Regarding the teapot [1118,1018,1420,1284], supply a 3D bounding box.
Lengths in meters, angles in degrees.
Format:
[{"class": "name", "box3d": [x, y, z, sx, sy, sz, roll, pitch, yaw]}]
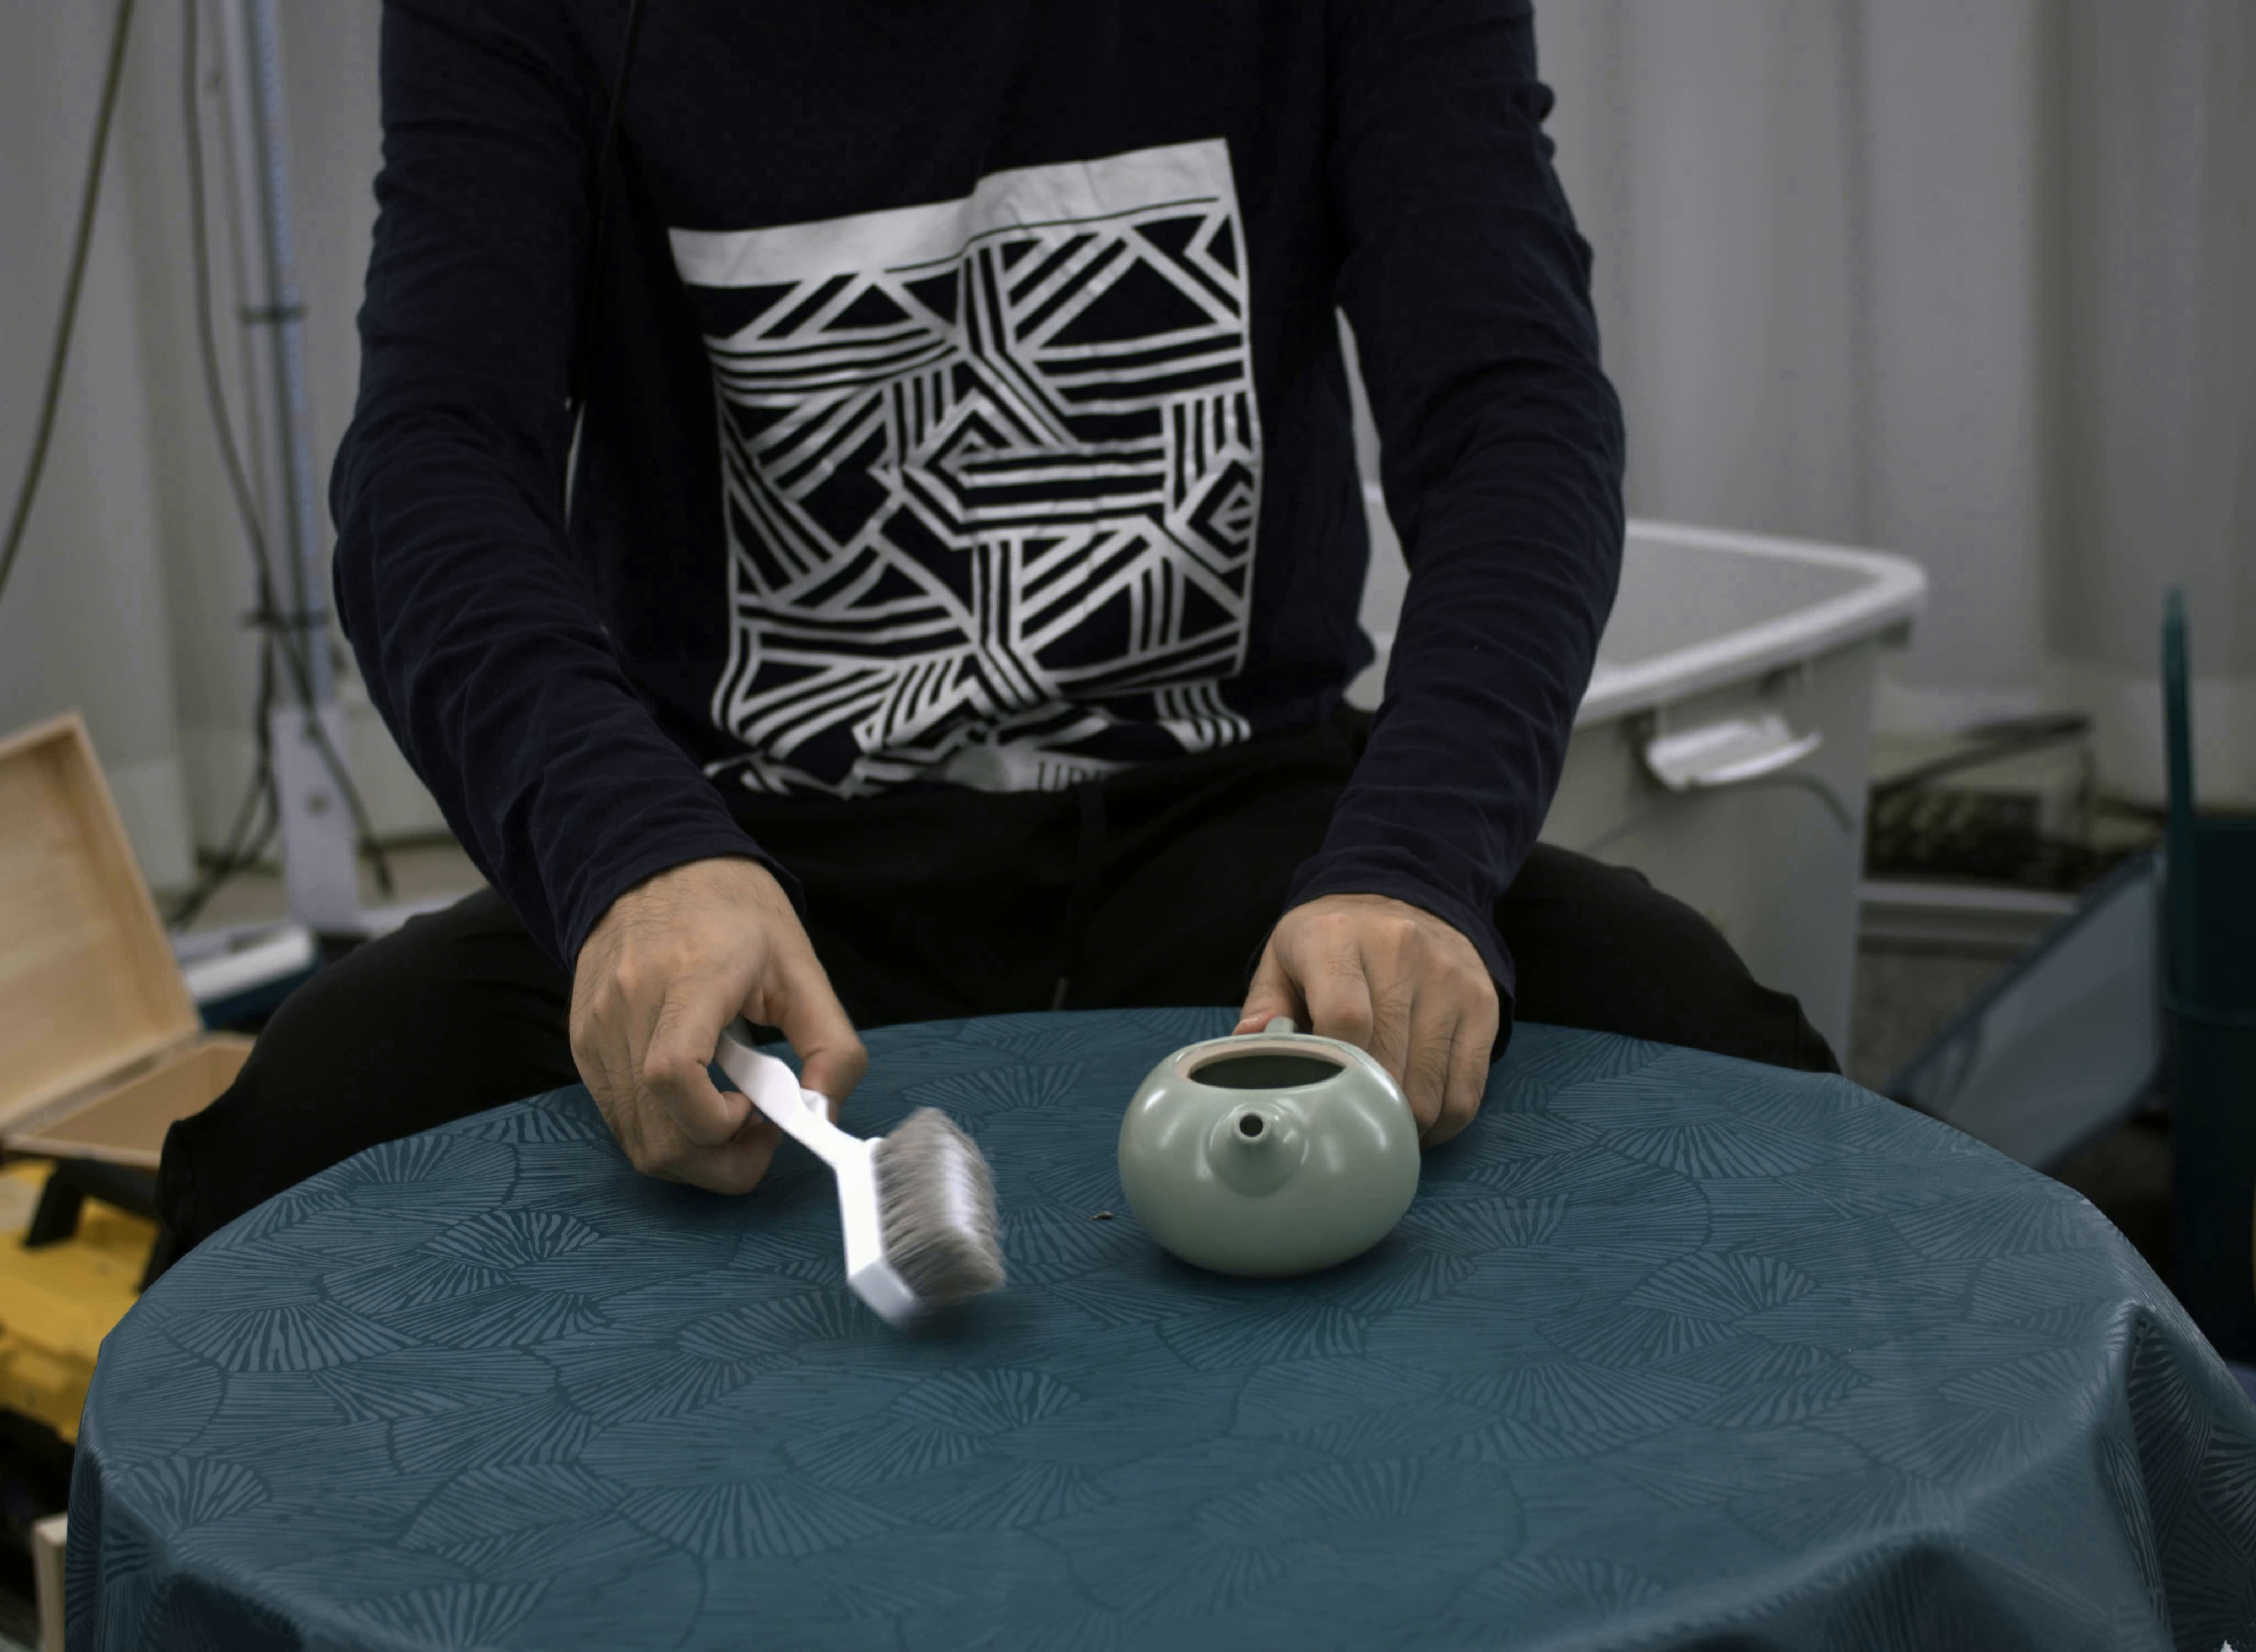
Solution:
[{"class": "teapot", "box3d": [0.044, 0.098, 1.658, 0.091, 0.061, 0.129, -5, 14, 13]}]

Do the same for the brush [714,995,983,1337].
[{"class": "brush", "box3d": [-0.087, 0.086, 1.683, 0.034, 0.050, 0.246, 27, 11, -22]}]
